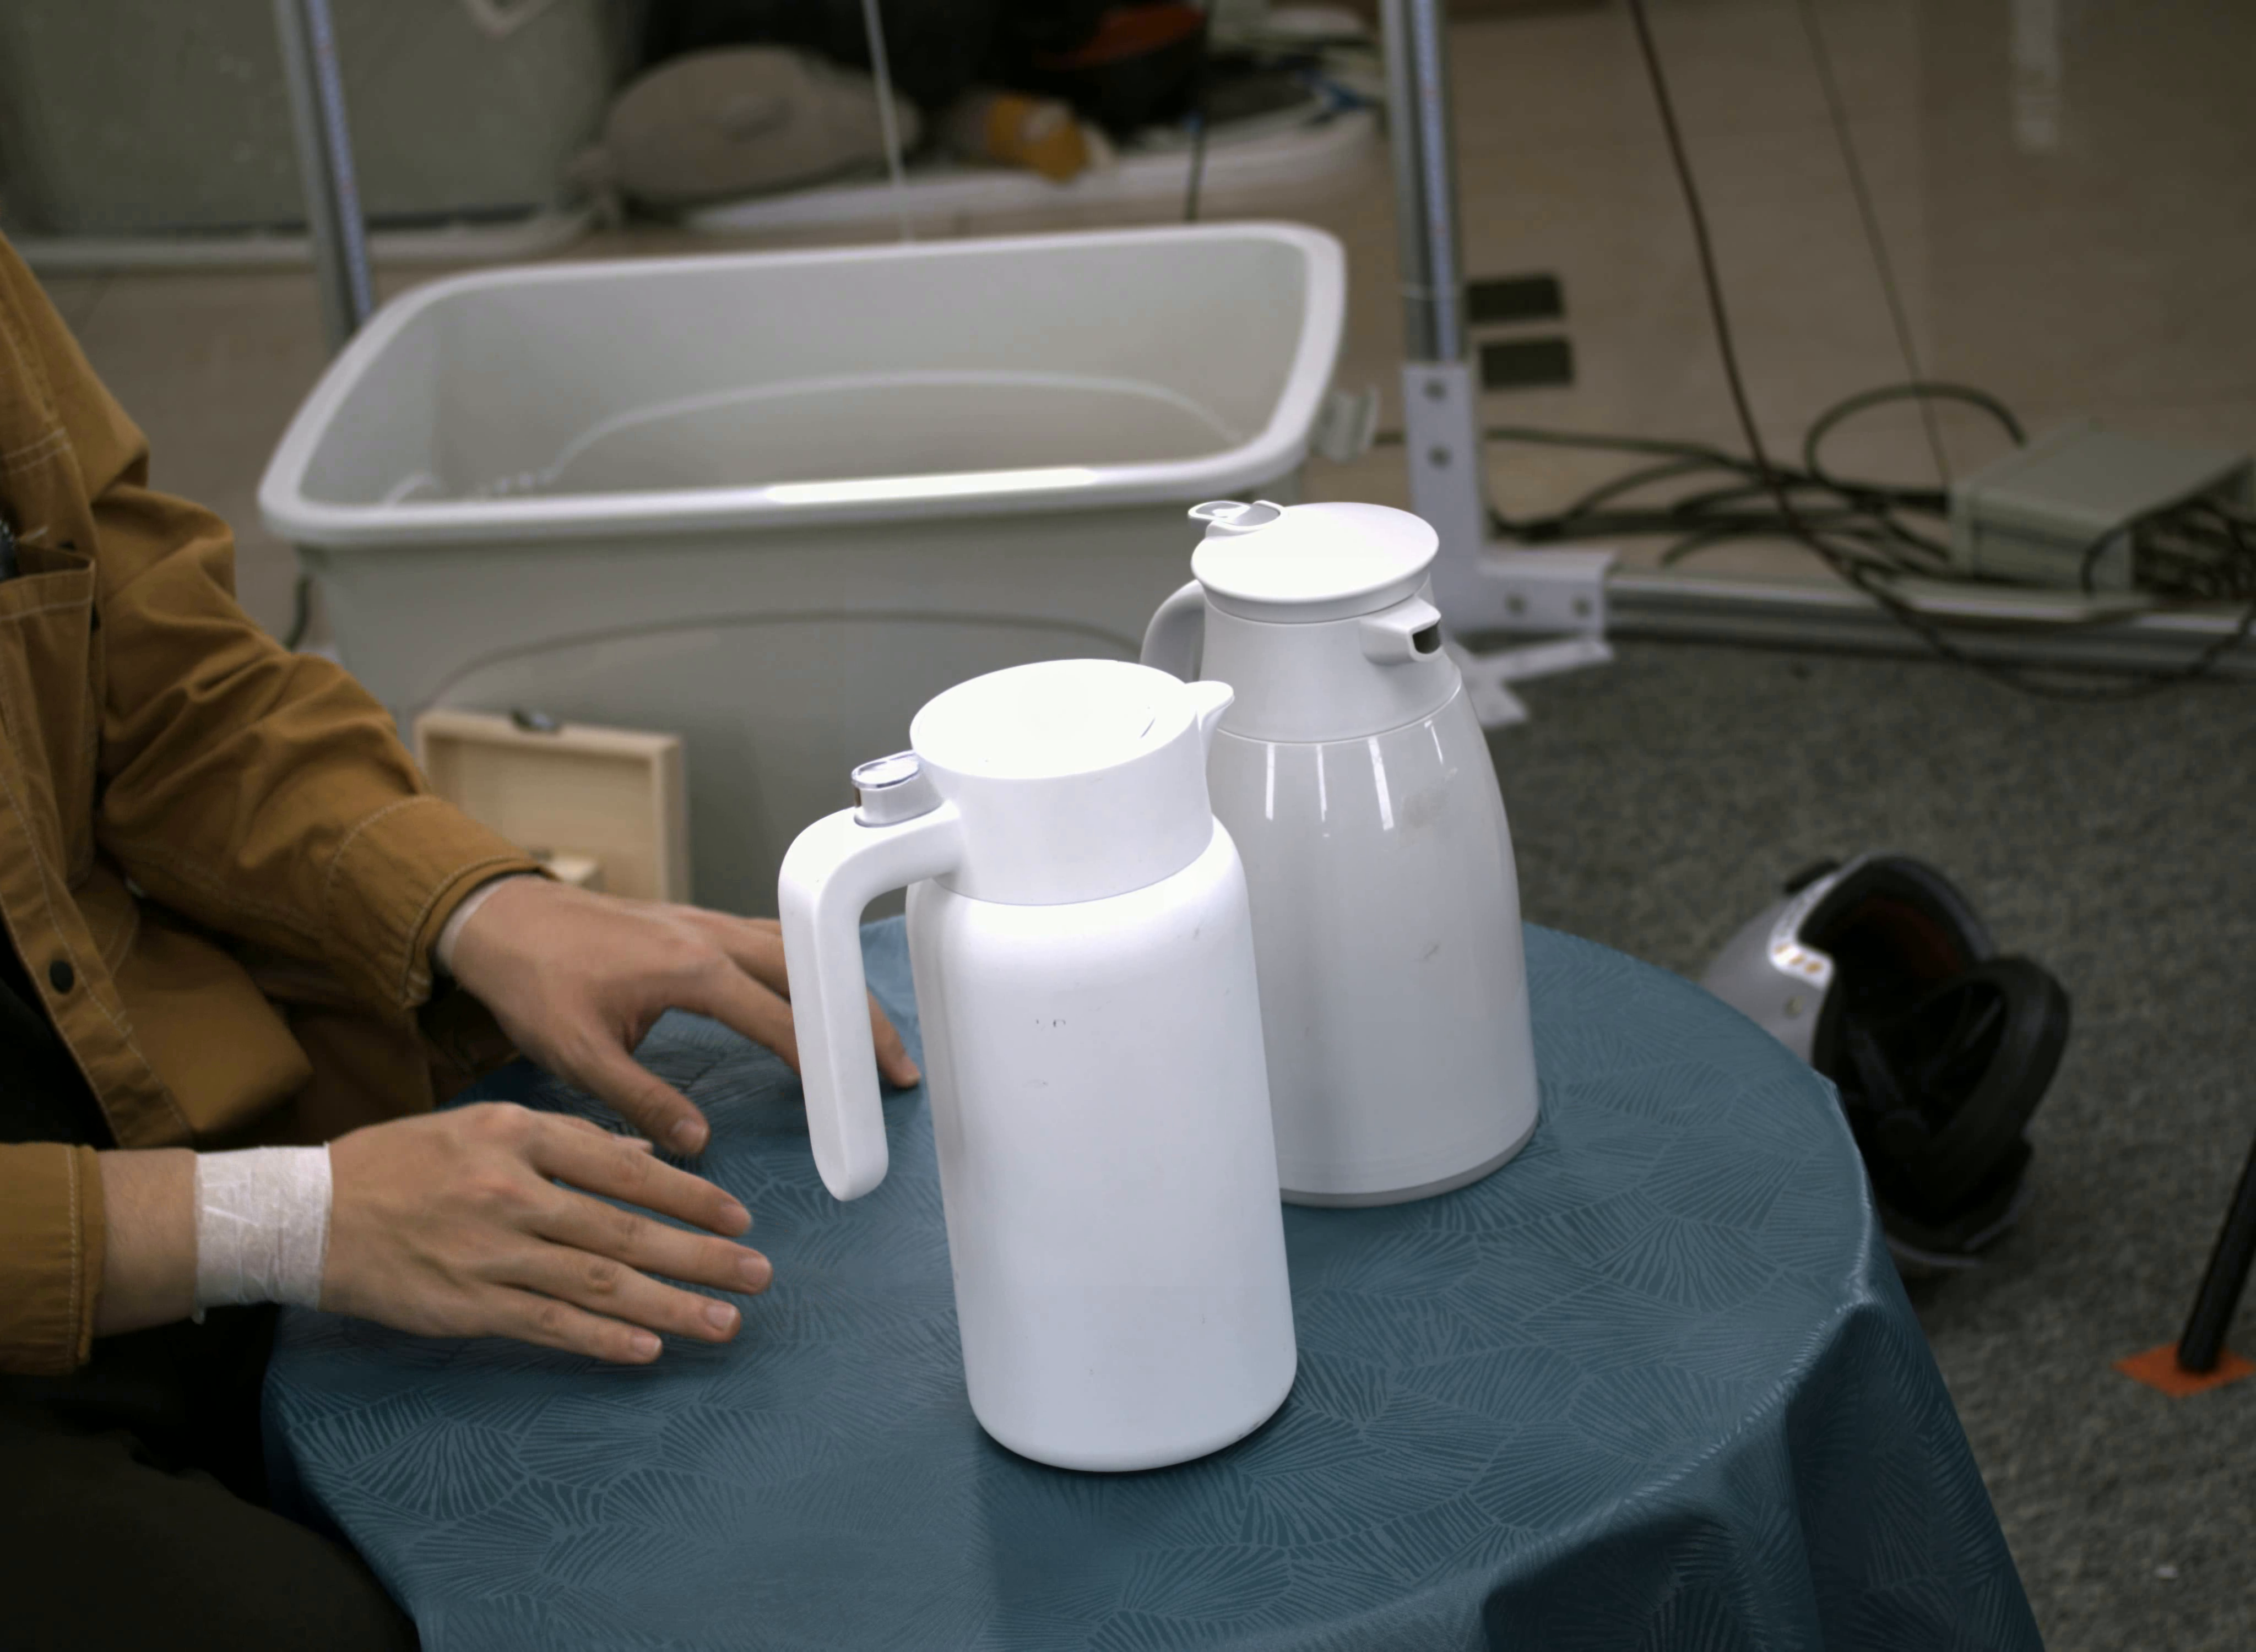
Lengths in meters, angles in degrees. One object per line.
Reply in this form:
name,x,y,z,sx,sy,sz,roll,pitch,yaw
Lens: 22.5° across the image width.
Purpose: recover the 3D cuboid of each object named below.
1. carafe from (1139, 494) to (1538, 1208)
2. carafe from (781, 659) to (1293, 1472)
carafe,0.067,-0.001,2.135,0.131,0.252,0.166,-25,30,-34
carafe,-0.026,0.088,1.945,0.172,0.273,0.122,-19,30,-25
